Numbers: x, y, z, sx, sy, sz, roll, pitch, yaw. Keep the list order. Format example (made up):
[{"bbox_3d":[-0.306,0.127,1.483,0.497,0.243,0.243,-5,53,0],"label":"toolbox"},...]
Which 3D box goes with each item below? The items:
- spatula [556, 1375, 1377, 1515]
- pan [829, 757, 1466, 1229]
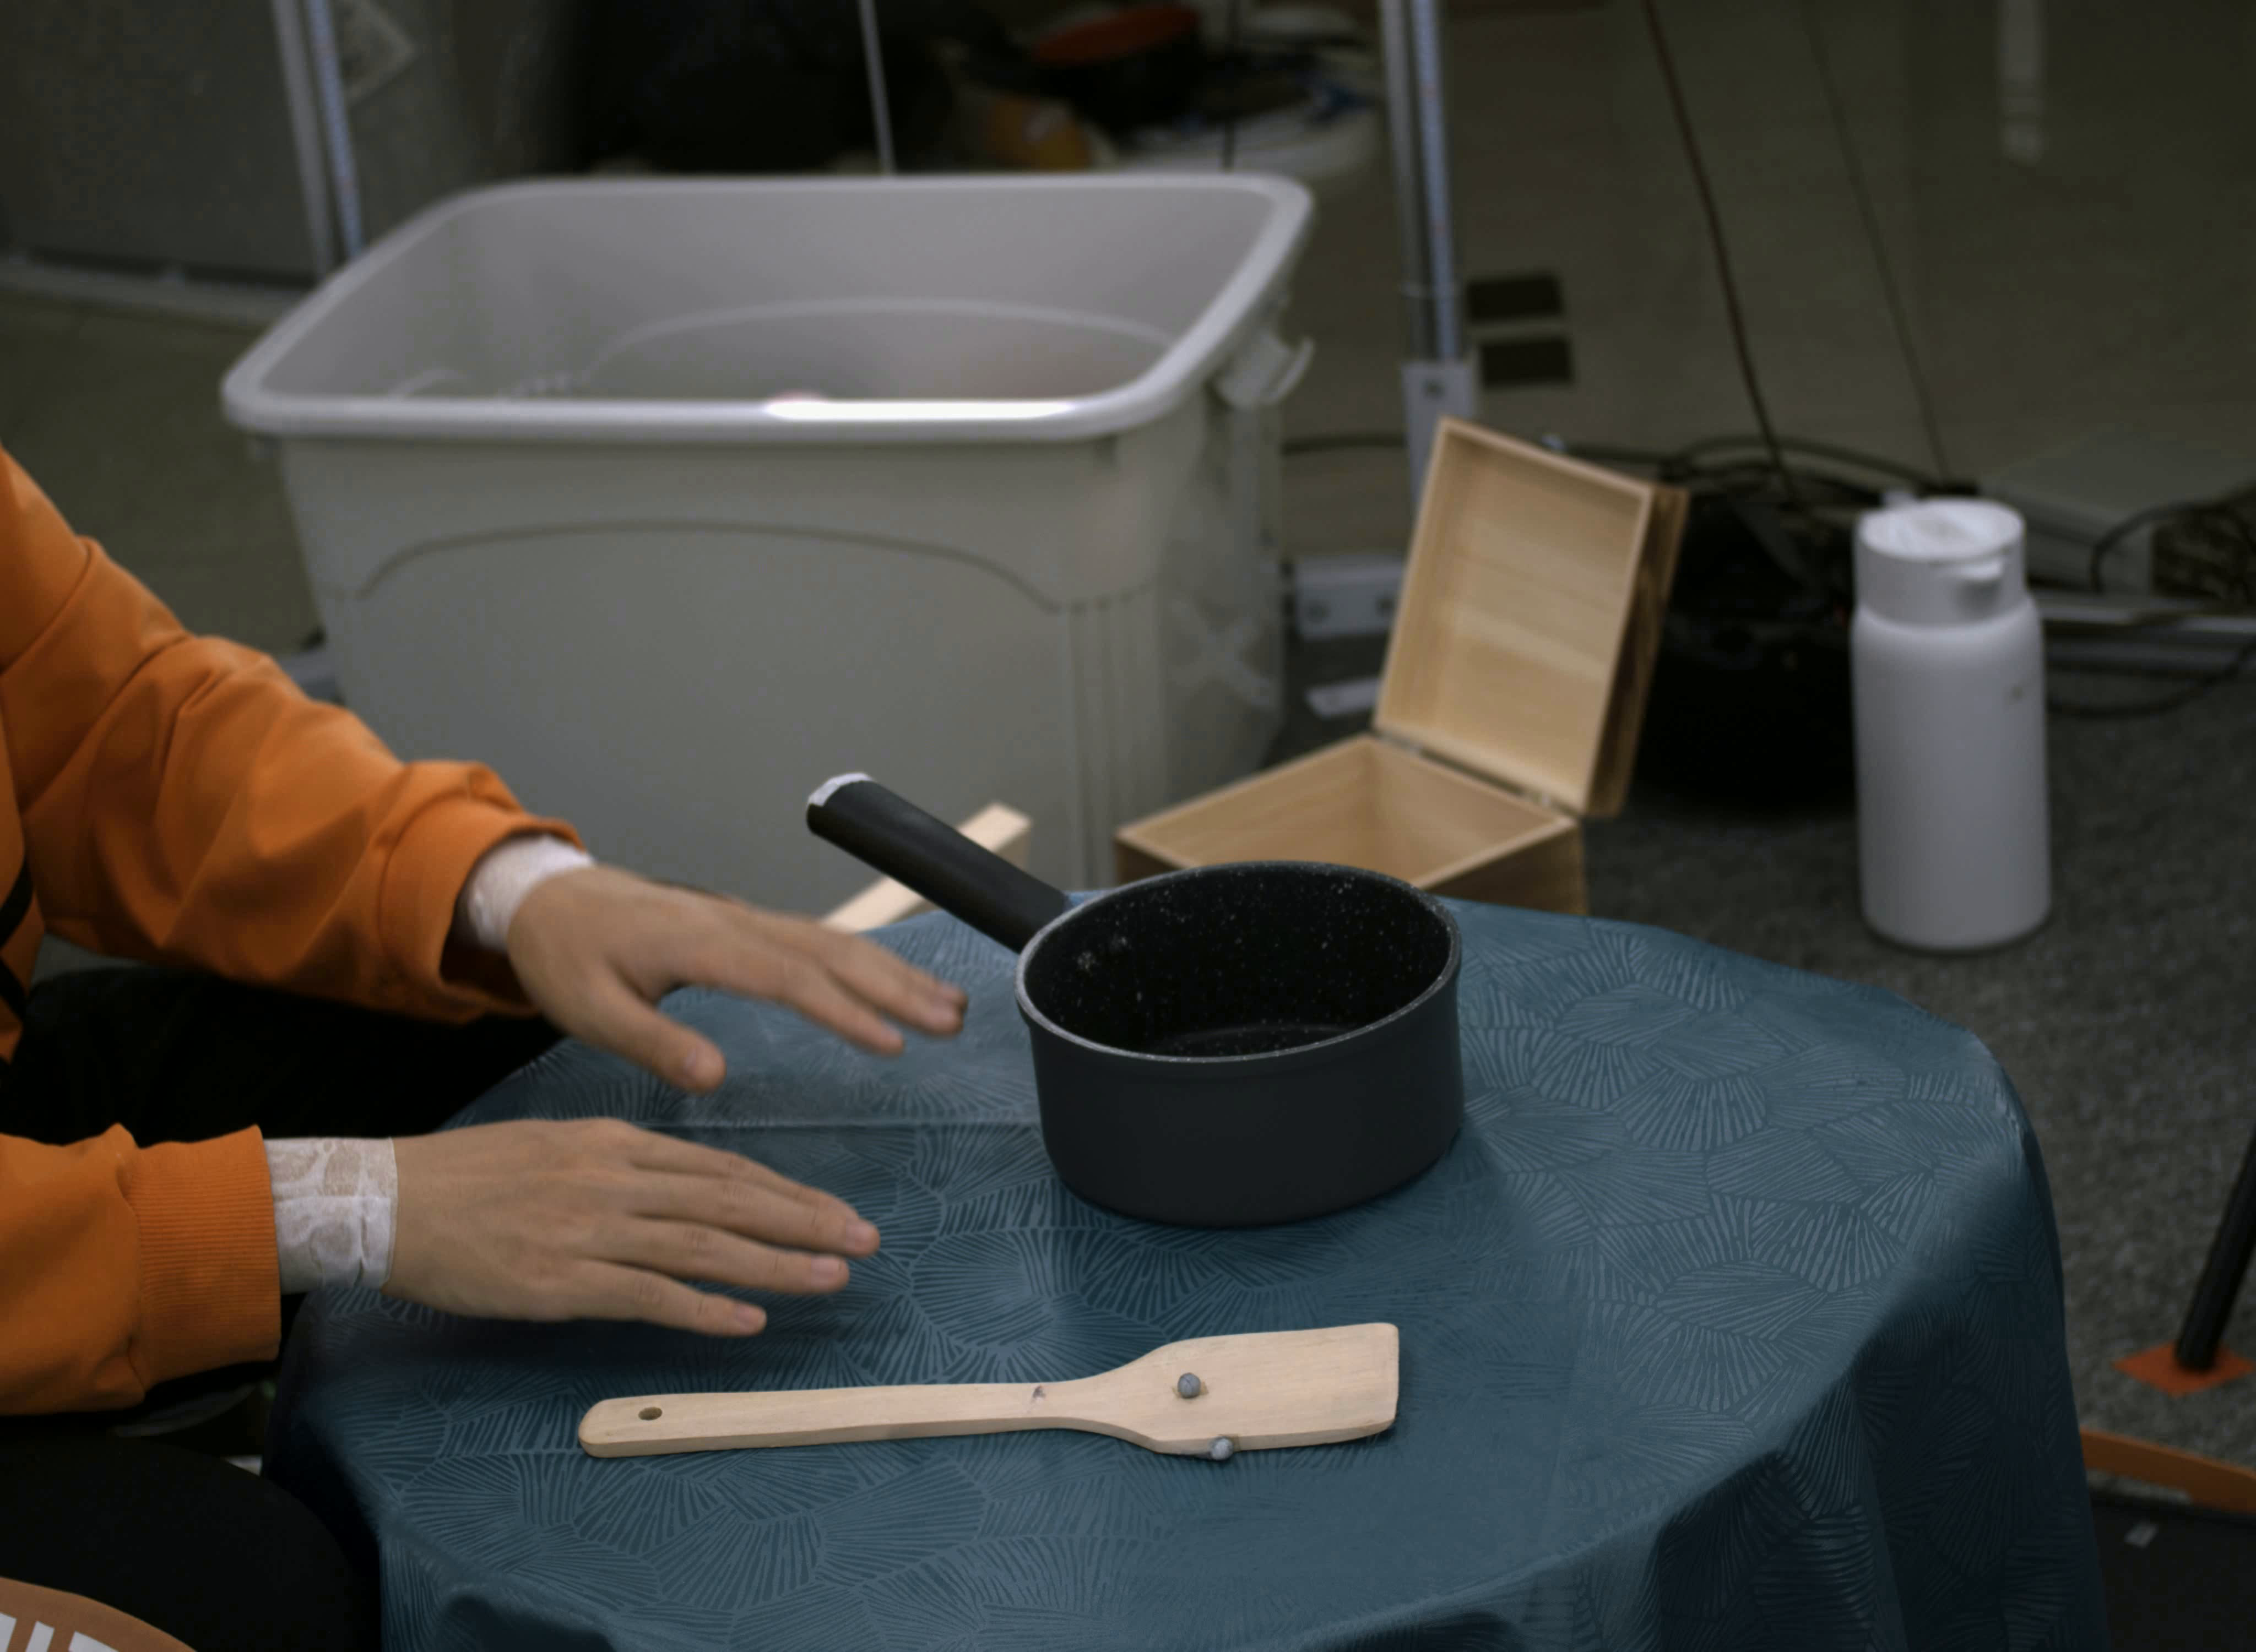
[{"bbox_3d":[-0.059,0.217,2.013,0.292,0.011,0.071,1,34,6],"label":"spatula"},{"bbox_3d":[-0.007,0.059,2.218,0.171,0.088,0.325,-24,32,-34],"label":"pan"}]
